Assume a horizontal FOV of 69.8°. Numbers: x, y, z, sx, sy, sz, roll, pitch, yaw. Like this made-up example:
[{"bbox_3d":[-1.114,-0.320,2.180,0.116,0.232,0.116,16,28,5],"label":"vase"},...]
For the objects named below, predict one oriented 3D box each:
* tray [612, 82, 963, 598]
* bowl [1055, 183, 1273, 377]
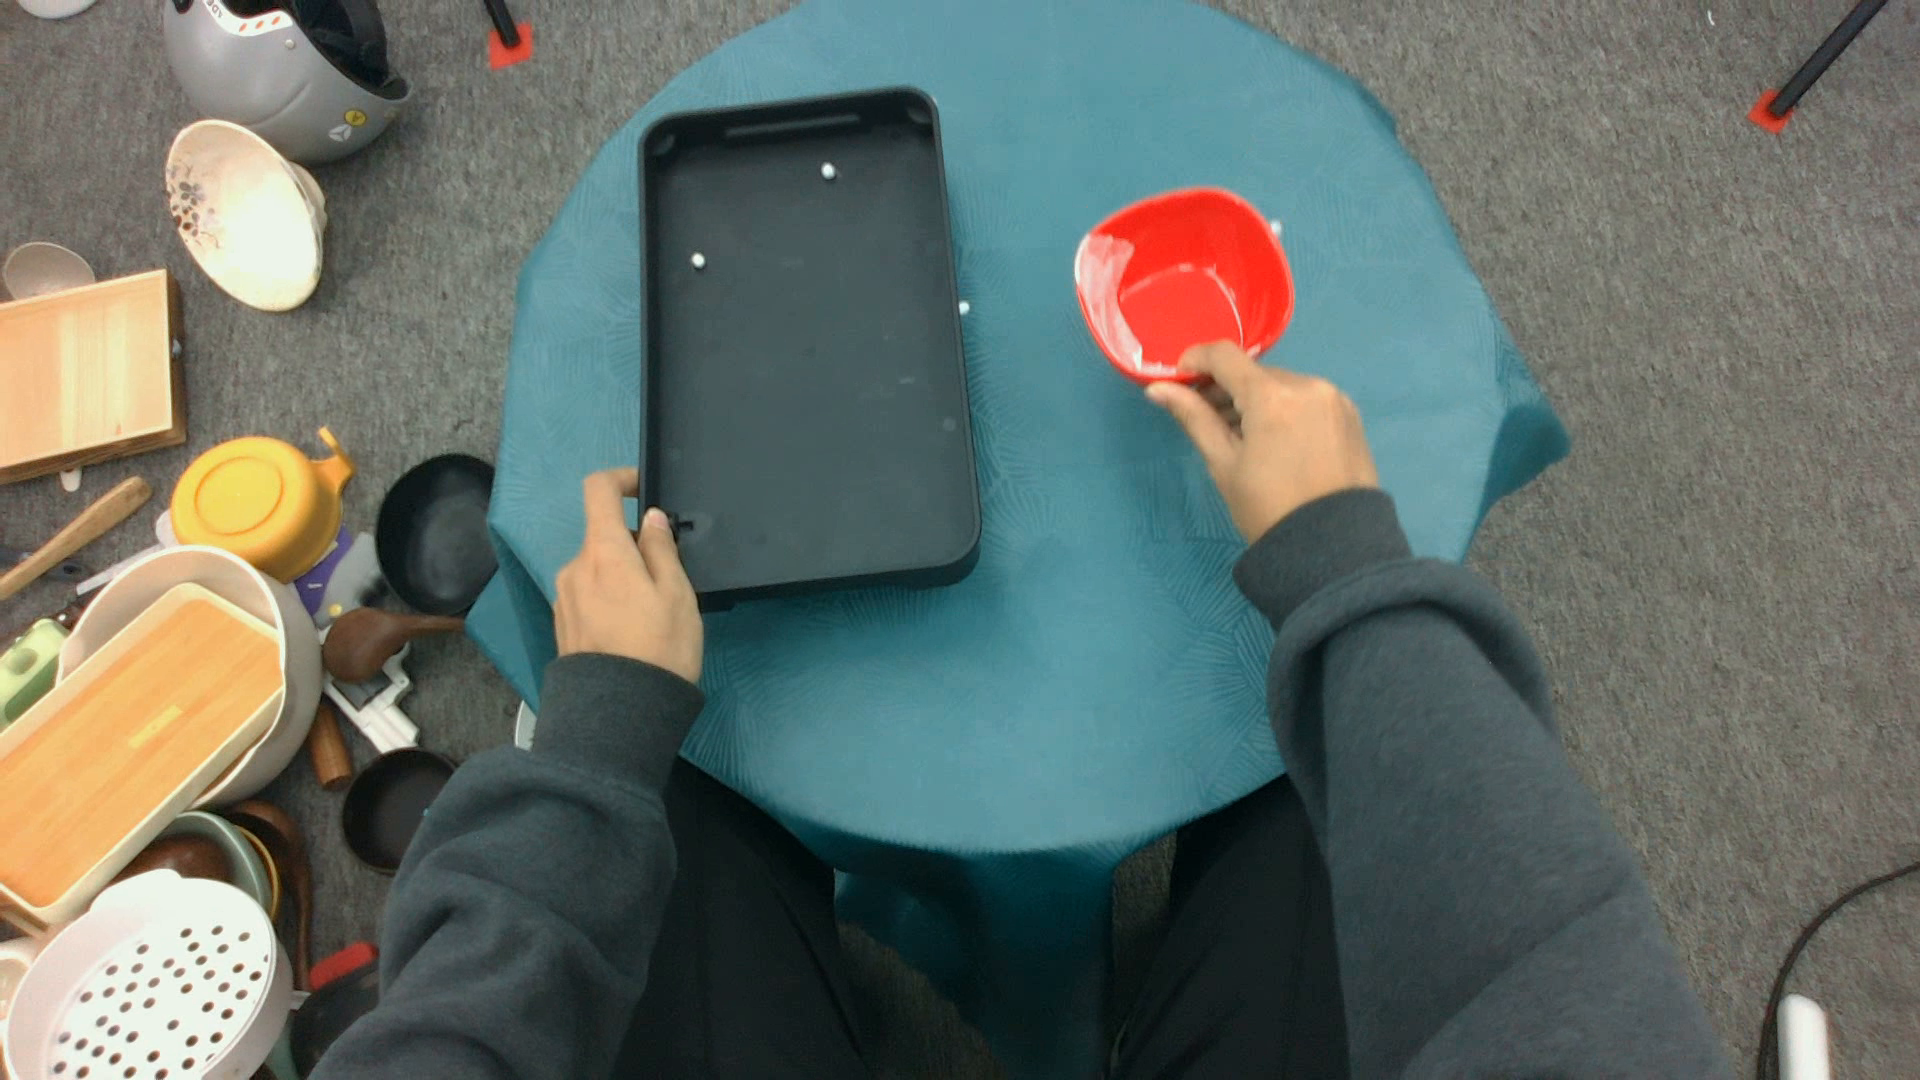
[{"bbox_3d":[-0.103,-0.123,0.790,0.184,0.037,0.319,-6,65,0],"label":"tray"},{"bbox_3d":[0.111,-0.133,0.755,0.119,0.051,0.119,-2,66,5],"label":"bowl"}]
